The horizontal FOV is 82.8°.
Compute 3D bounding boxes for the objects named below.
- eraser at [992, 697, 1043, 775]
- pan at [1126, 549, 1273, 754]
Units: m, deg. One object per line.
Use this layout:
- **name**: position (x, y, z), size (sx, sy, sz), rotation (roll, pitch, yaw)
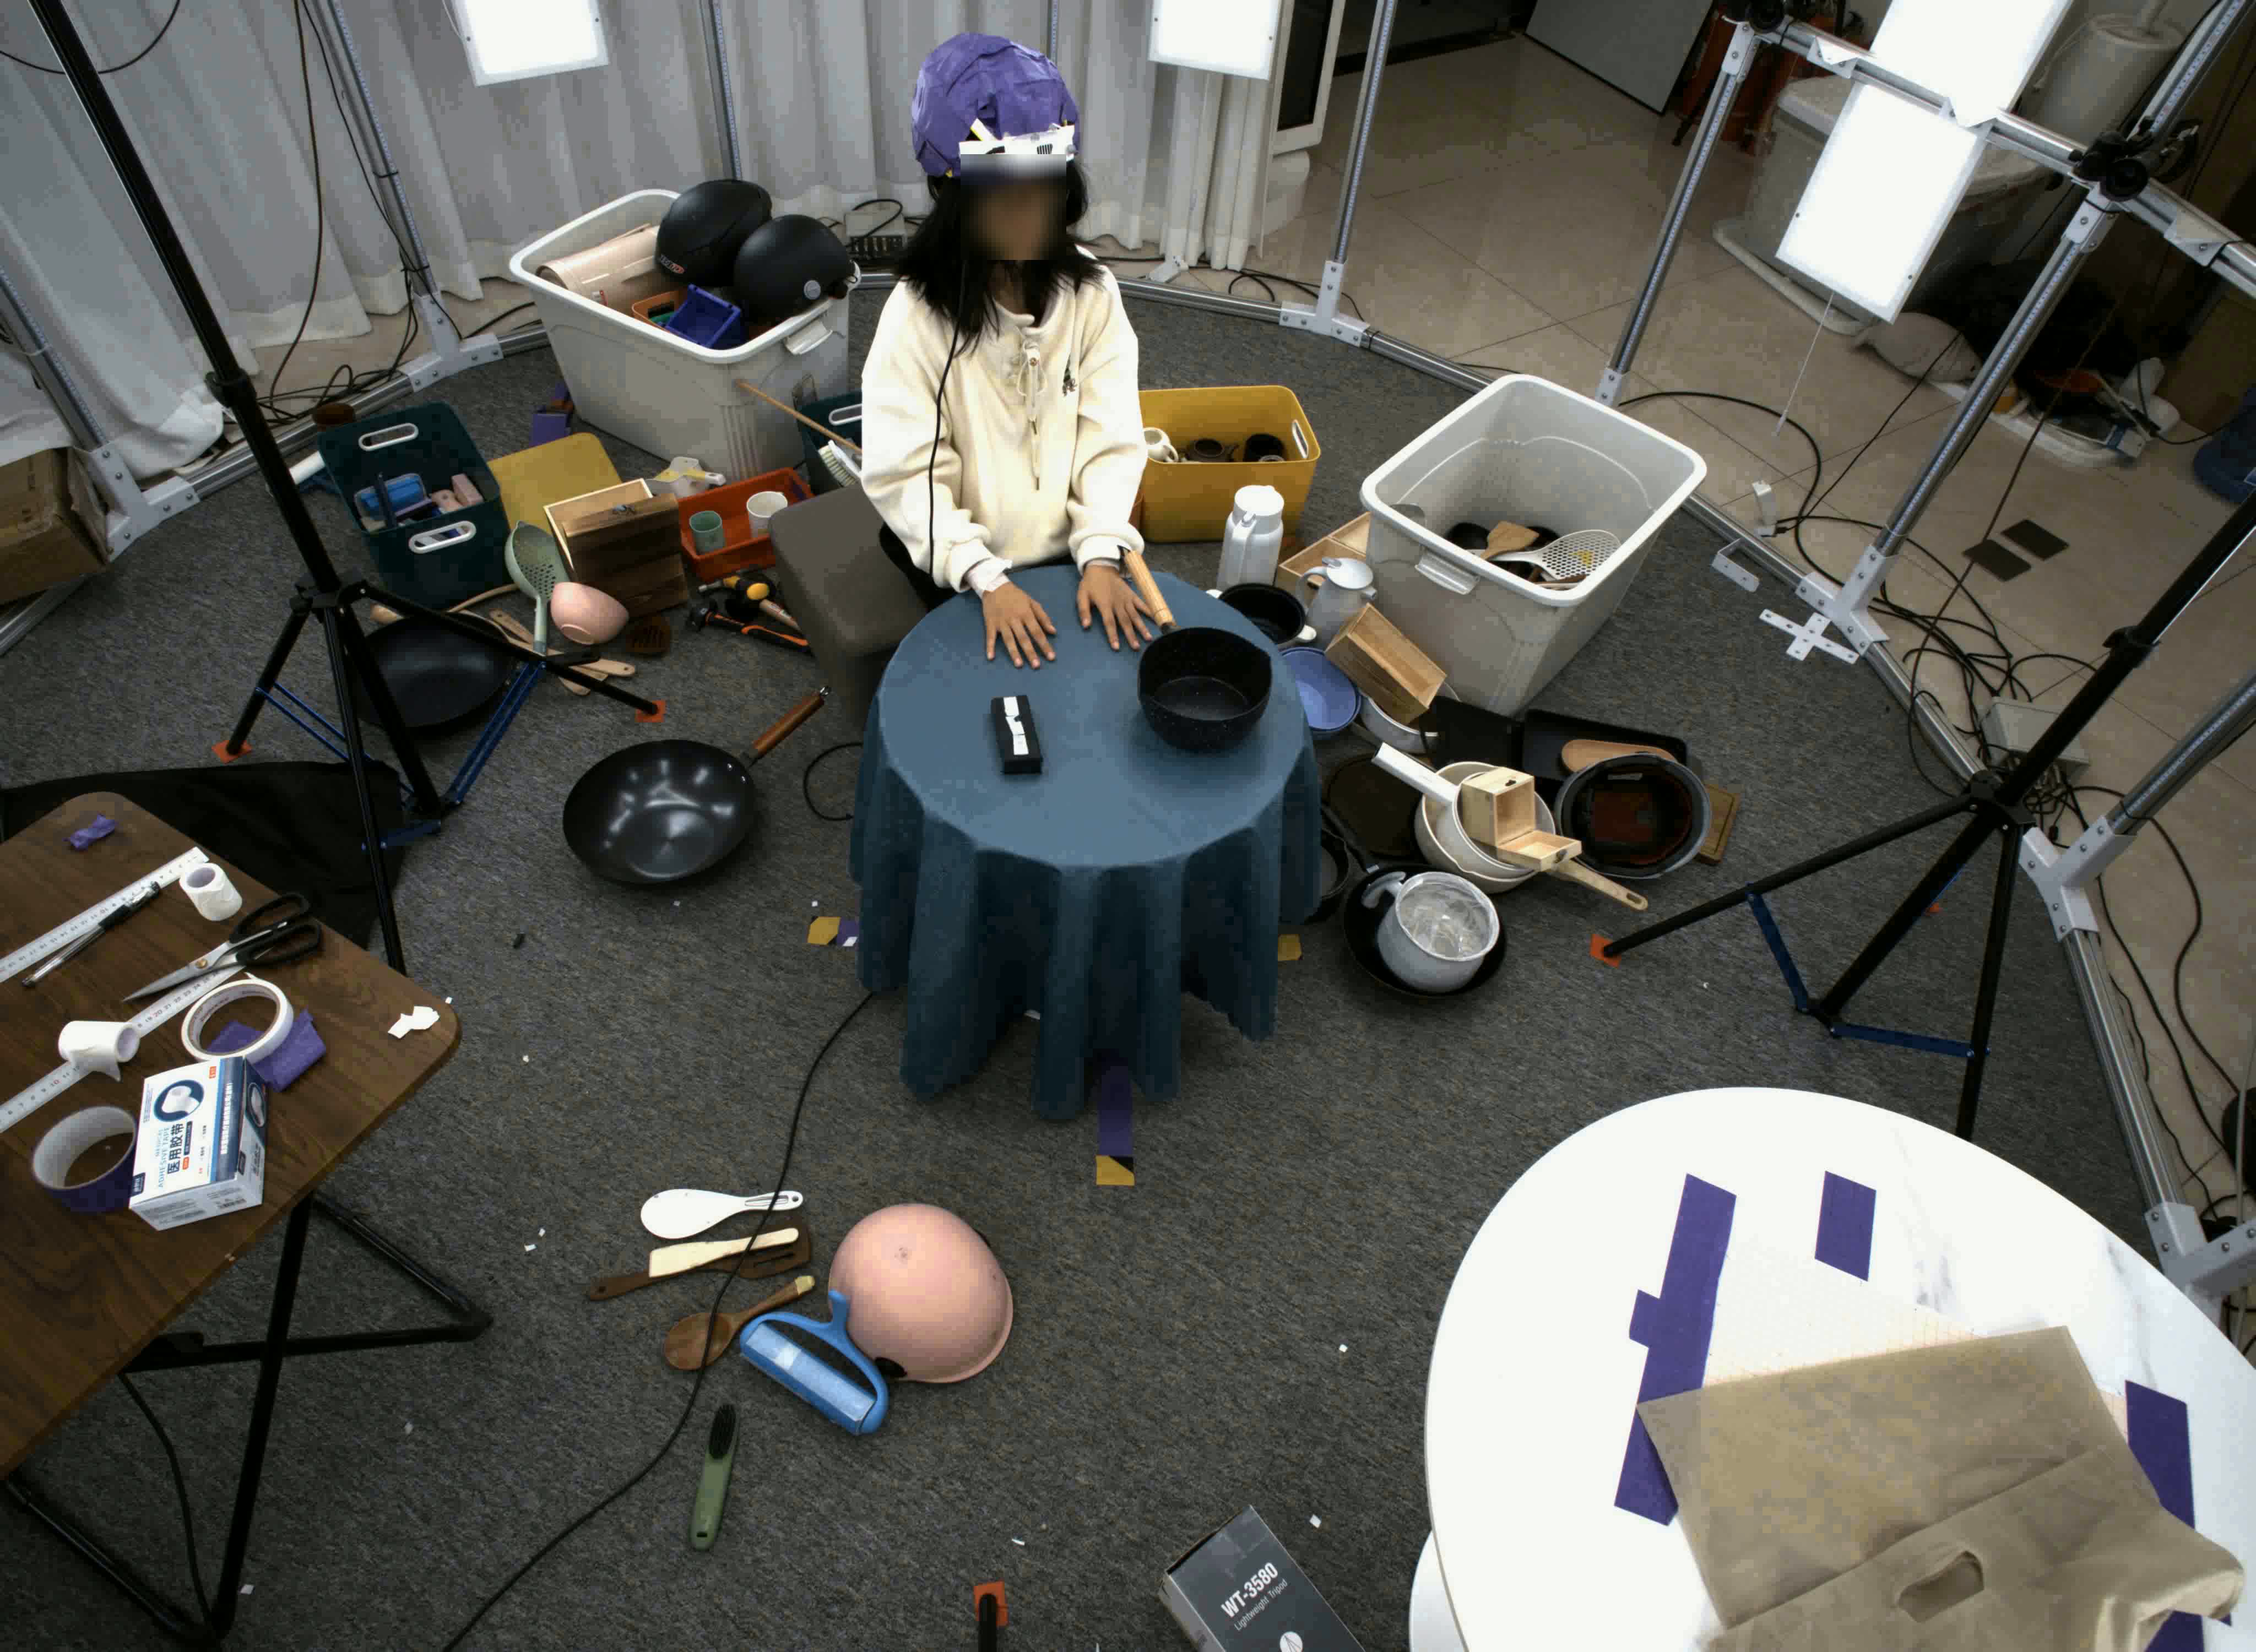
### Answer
- **eraser**: position (-0.151, -0.123, 1.750), size (0.053, 0.030, 0.129), rotation (-6, 49, -10)
- **pan**: position (0.071, -0.248, 1.820), size (0.208, 0.105, 0.350), rotation (-18, 54, -17)
